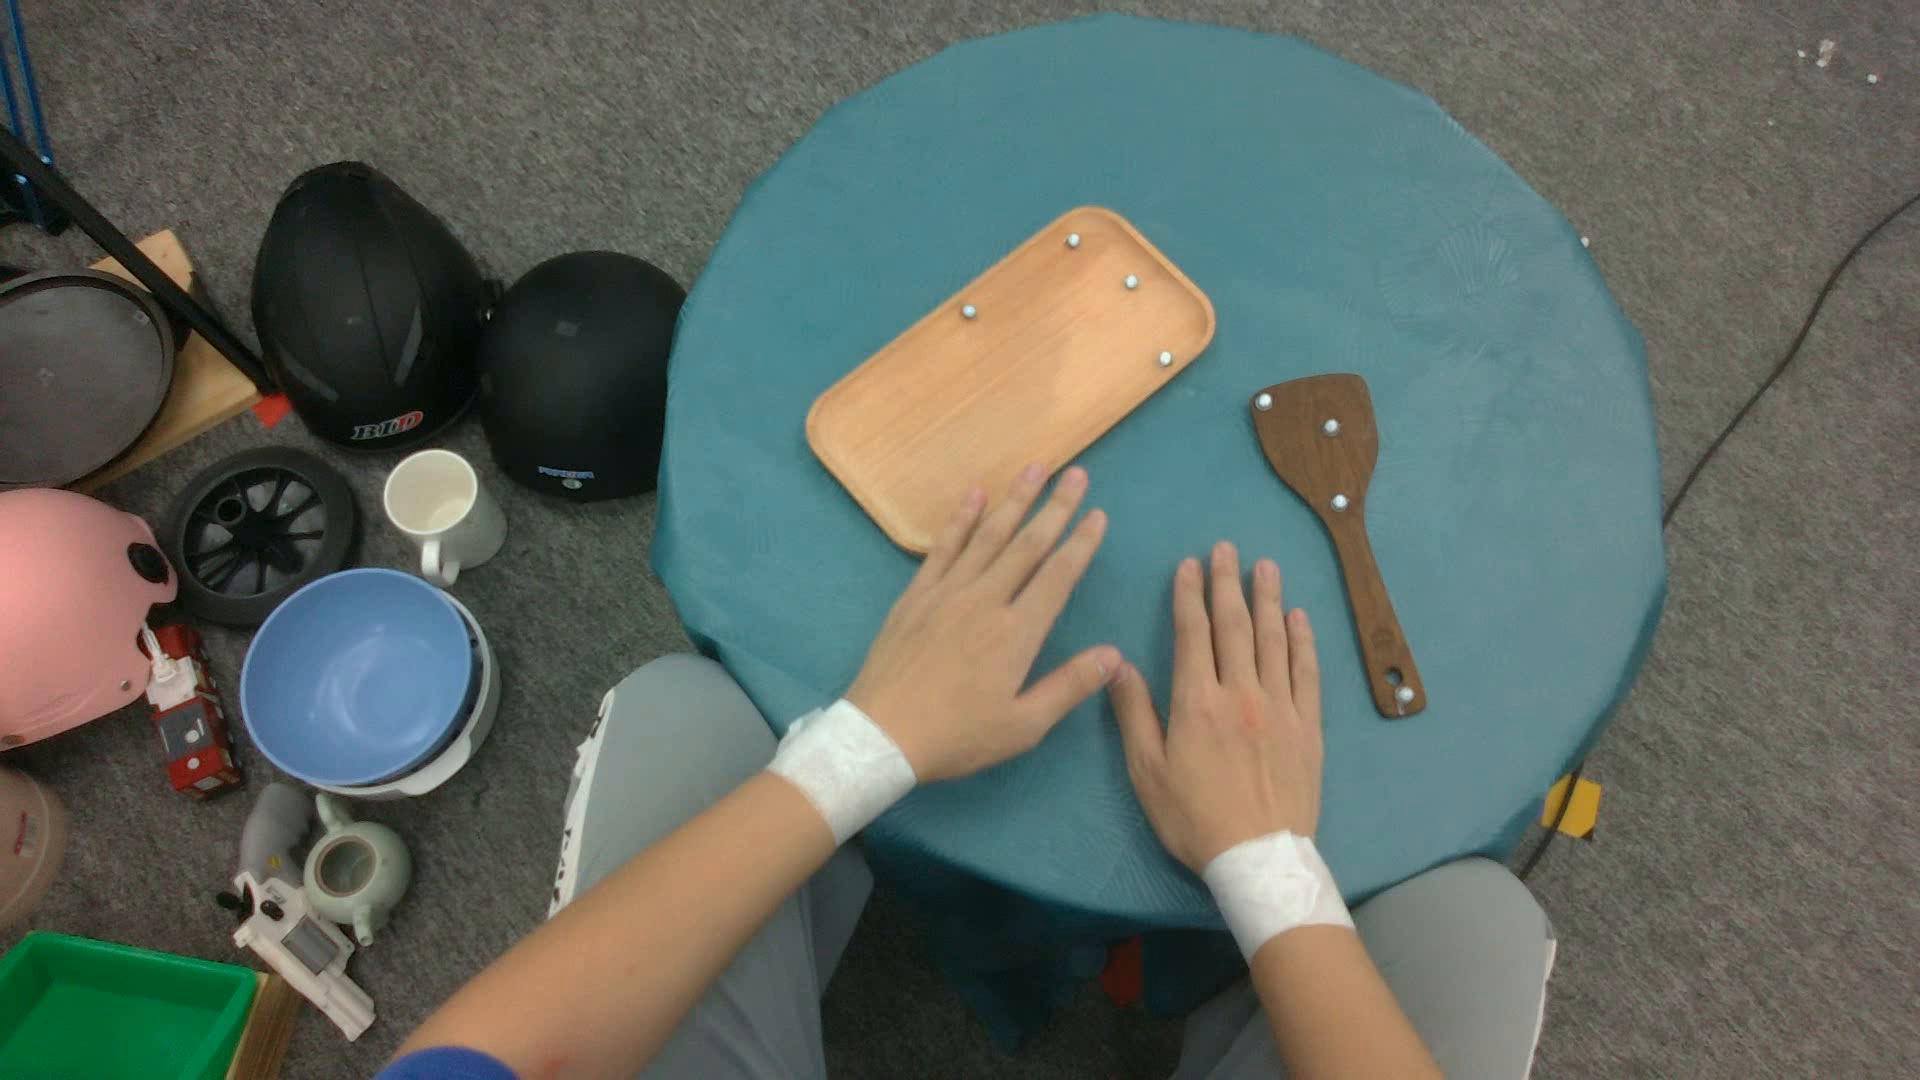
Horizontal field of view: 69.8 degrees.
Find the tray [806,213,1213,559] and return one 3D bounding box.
[{"bbox_3d":[0.032,-0.098,0.841,0.251,0.023,0.130,-38,71,-15],"label":"tray"}]

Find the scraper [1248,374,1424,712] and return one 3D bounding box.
[{"bbox_3d":[0.229,-0.001,0.809,0.076,0.011,0.212,-10,69,-4],"label":"scraper"}]
